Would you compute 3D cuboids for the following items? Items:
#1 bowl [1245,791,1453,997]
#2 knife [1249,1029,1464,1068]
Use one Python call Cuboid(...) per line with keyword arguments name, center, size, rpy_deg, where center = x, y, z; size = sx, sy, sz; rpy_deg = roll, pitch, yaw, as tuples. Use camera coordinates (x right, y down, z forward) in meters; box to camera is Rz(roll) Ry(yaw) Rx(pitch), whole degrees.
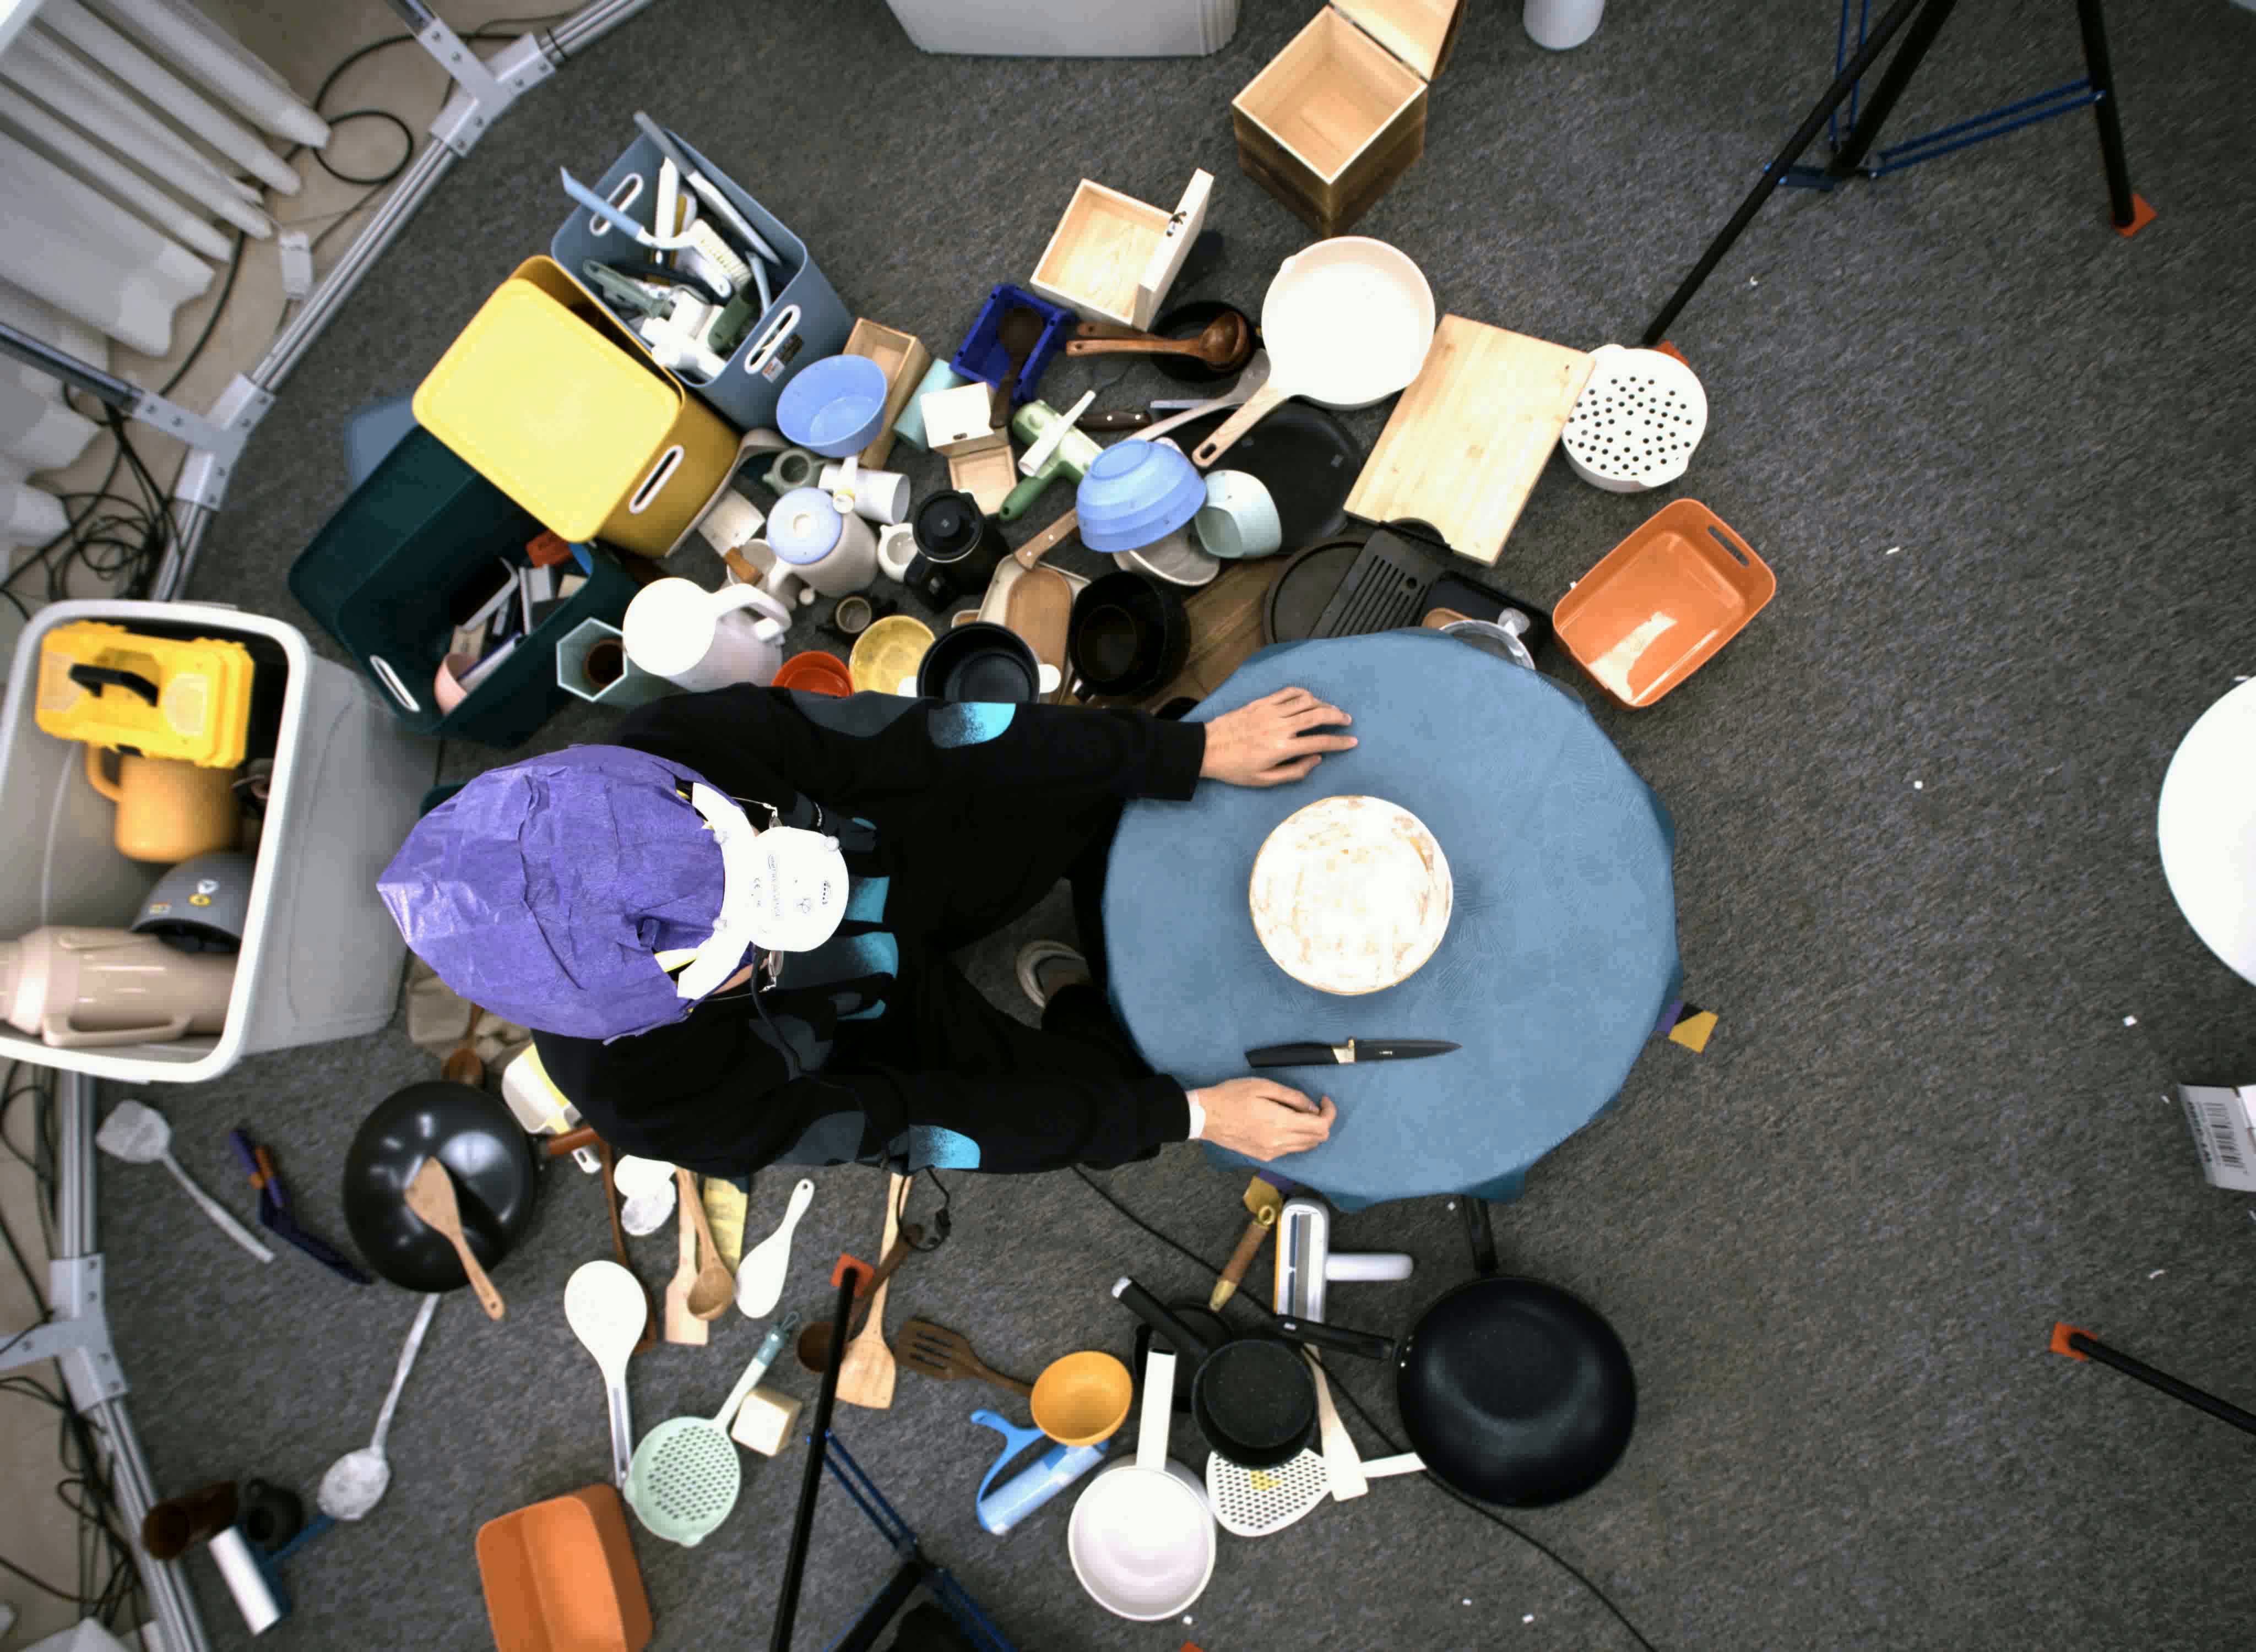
Cuboid(name="bowl", center=(0.224, 0.070, 1.420), size=(0.215, 0.094, 0.214), rpy_deg=(-1, 88, 10))
Cuboid(name="knife", center=(0.239, 0.232, 1.452), size=(0.226, 0.017, 0.026), rpy_deg=(-7, 78, 9))
